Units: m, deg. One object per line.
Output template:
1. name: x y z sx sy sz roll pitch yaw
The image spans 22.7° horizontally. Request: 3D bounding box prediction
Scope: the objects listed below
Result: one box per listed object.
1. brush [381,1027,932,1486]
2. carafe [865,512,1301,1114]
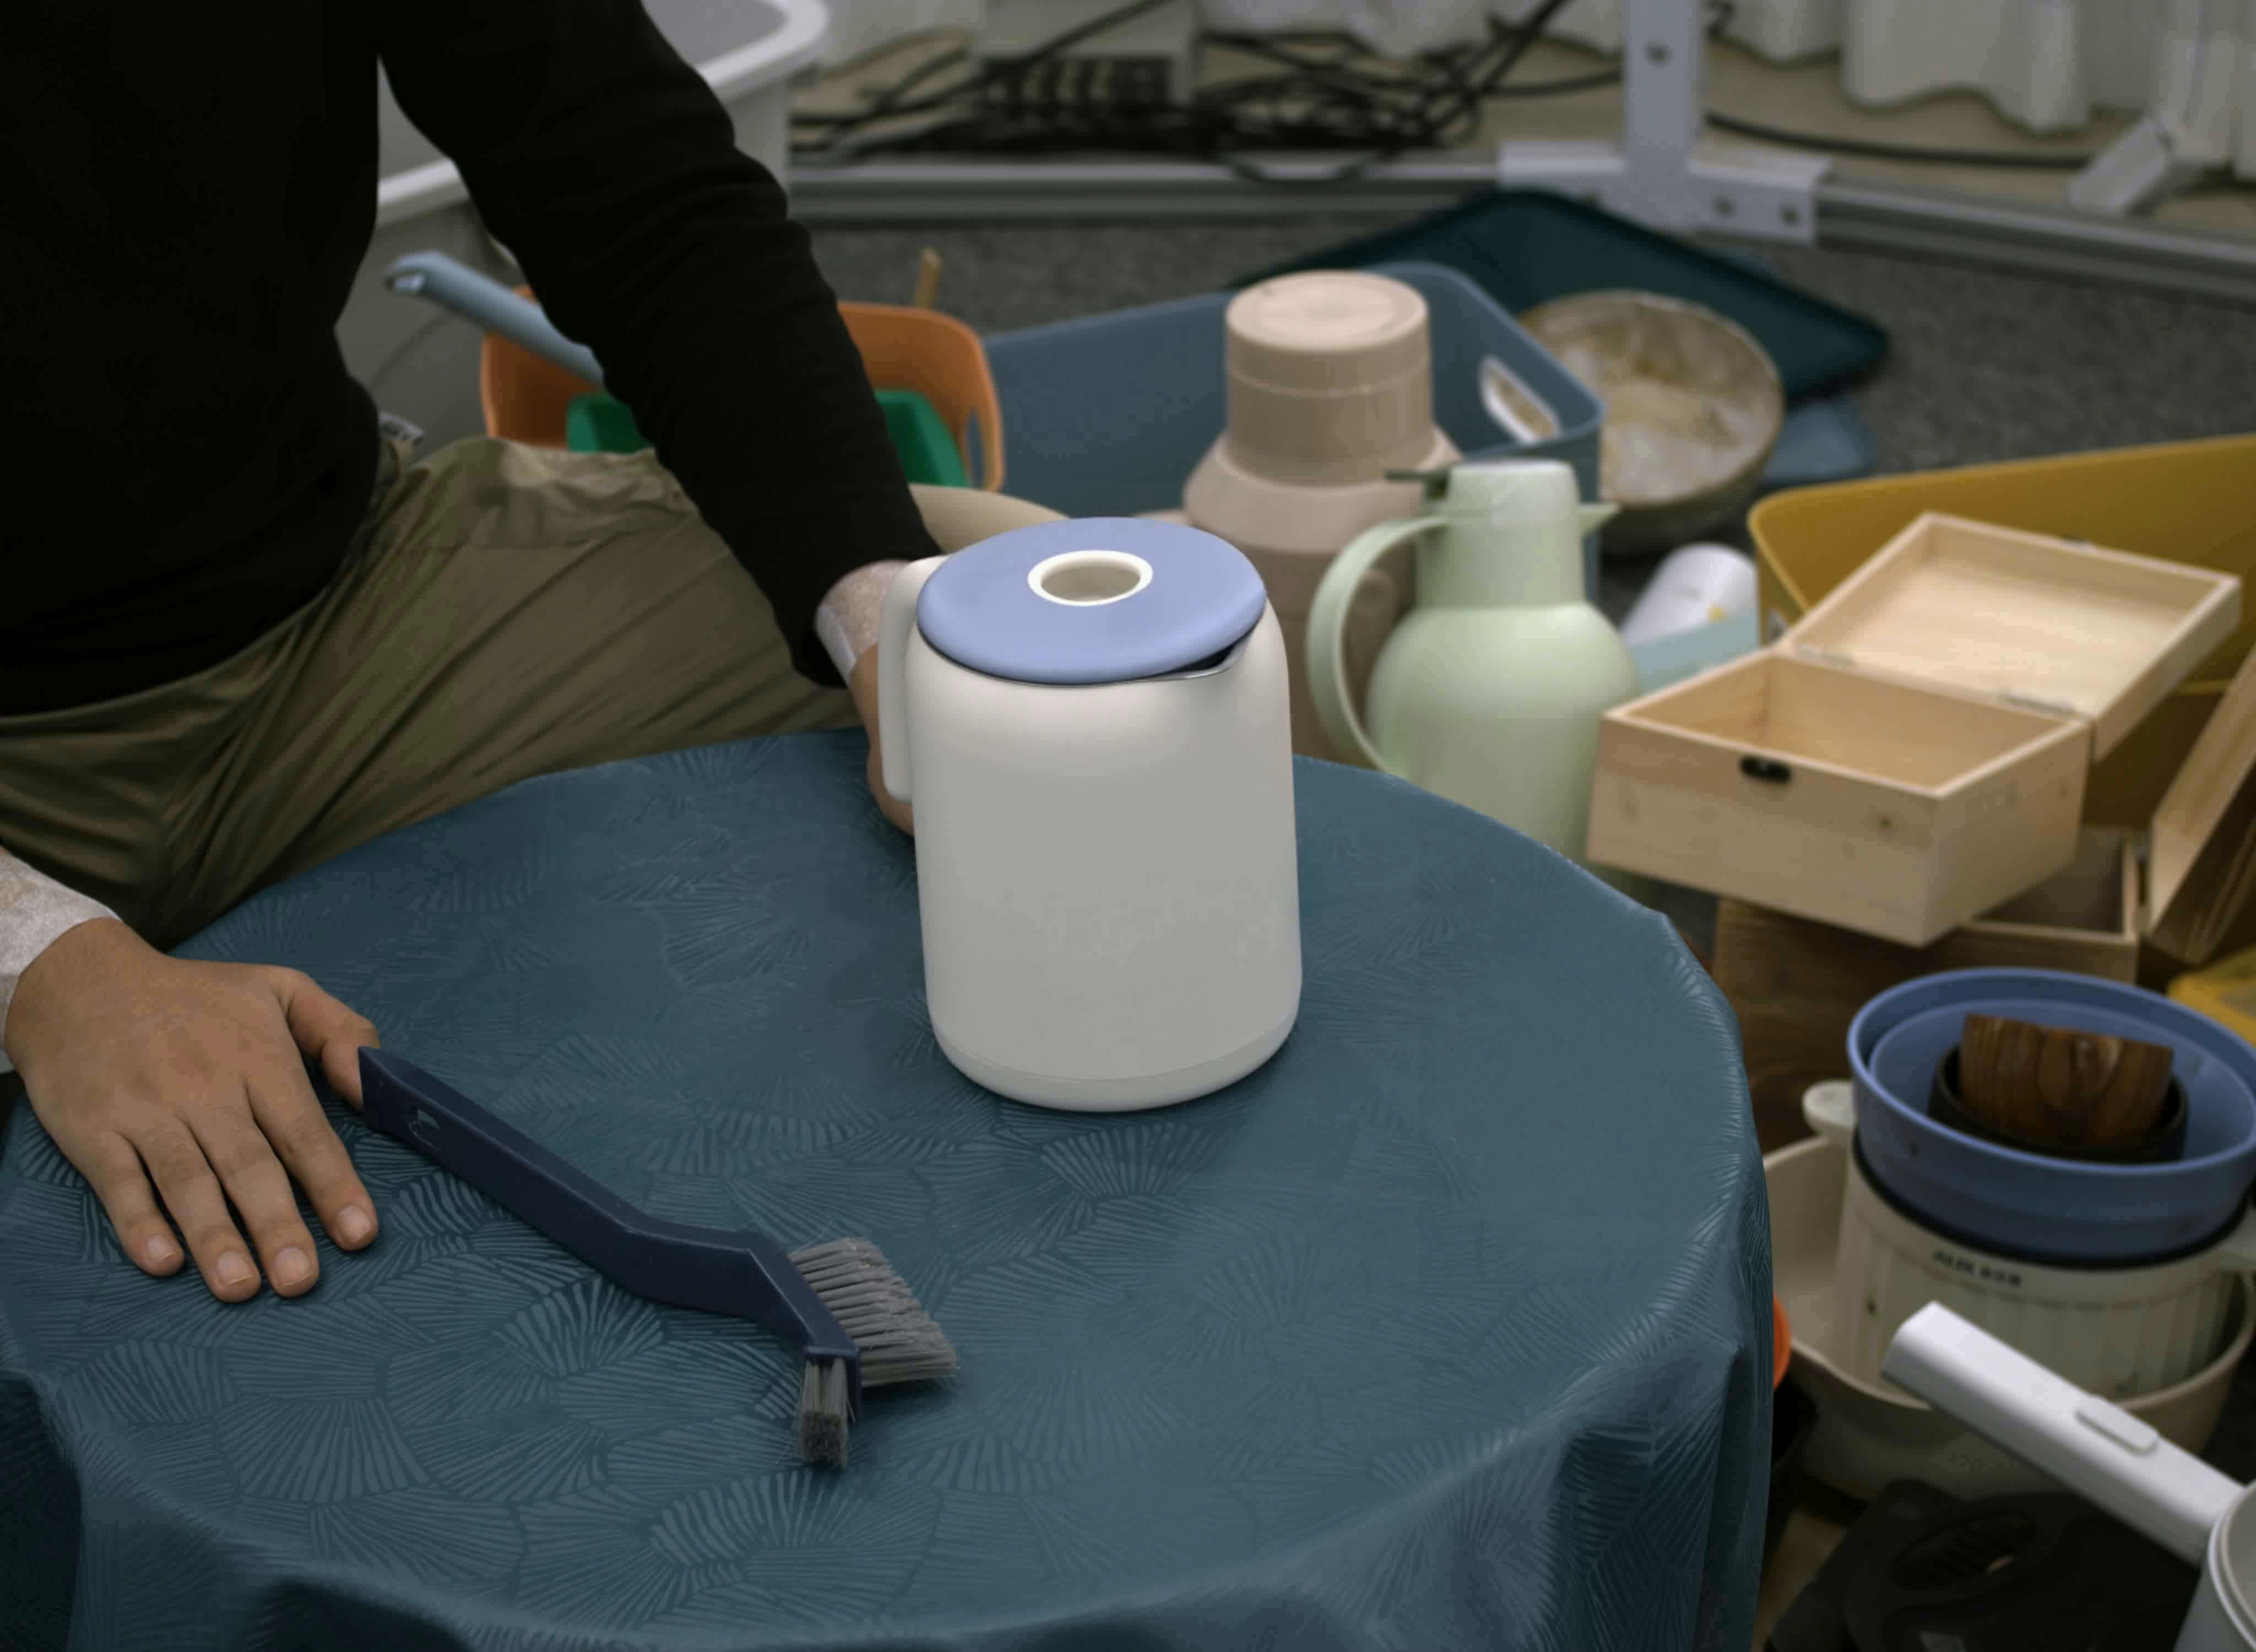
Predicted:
1. brush: -0.171 0.135 1.821 0.272 0.033 0.097 21 38 37
2. carafe: -0.025 -0.013 1.939 0.133 0.181 0.191 -24 32 -36
